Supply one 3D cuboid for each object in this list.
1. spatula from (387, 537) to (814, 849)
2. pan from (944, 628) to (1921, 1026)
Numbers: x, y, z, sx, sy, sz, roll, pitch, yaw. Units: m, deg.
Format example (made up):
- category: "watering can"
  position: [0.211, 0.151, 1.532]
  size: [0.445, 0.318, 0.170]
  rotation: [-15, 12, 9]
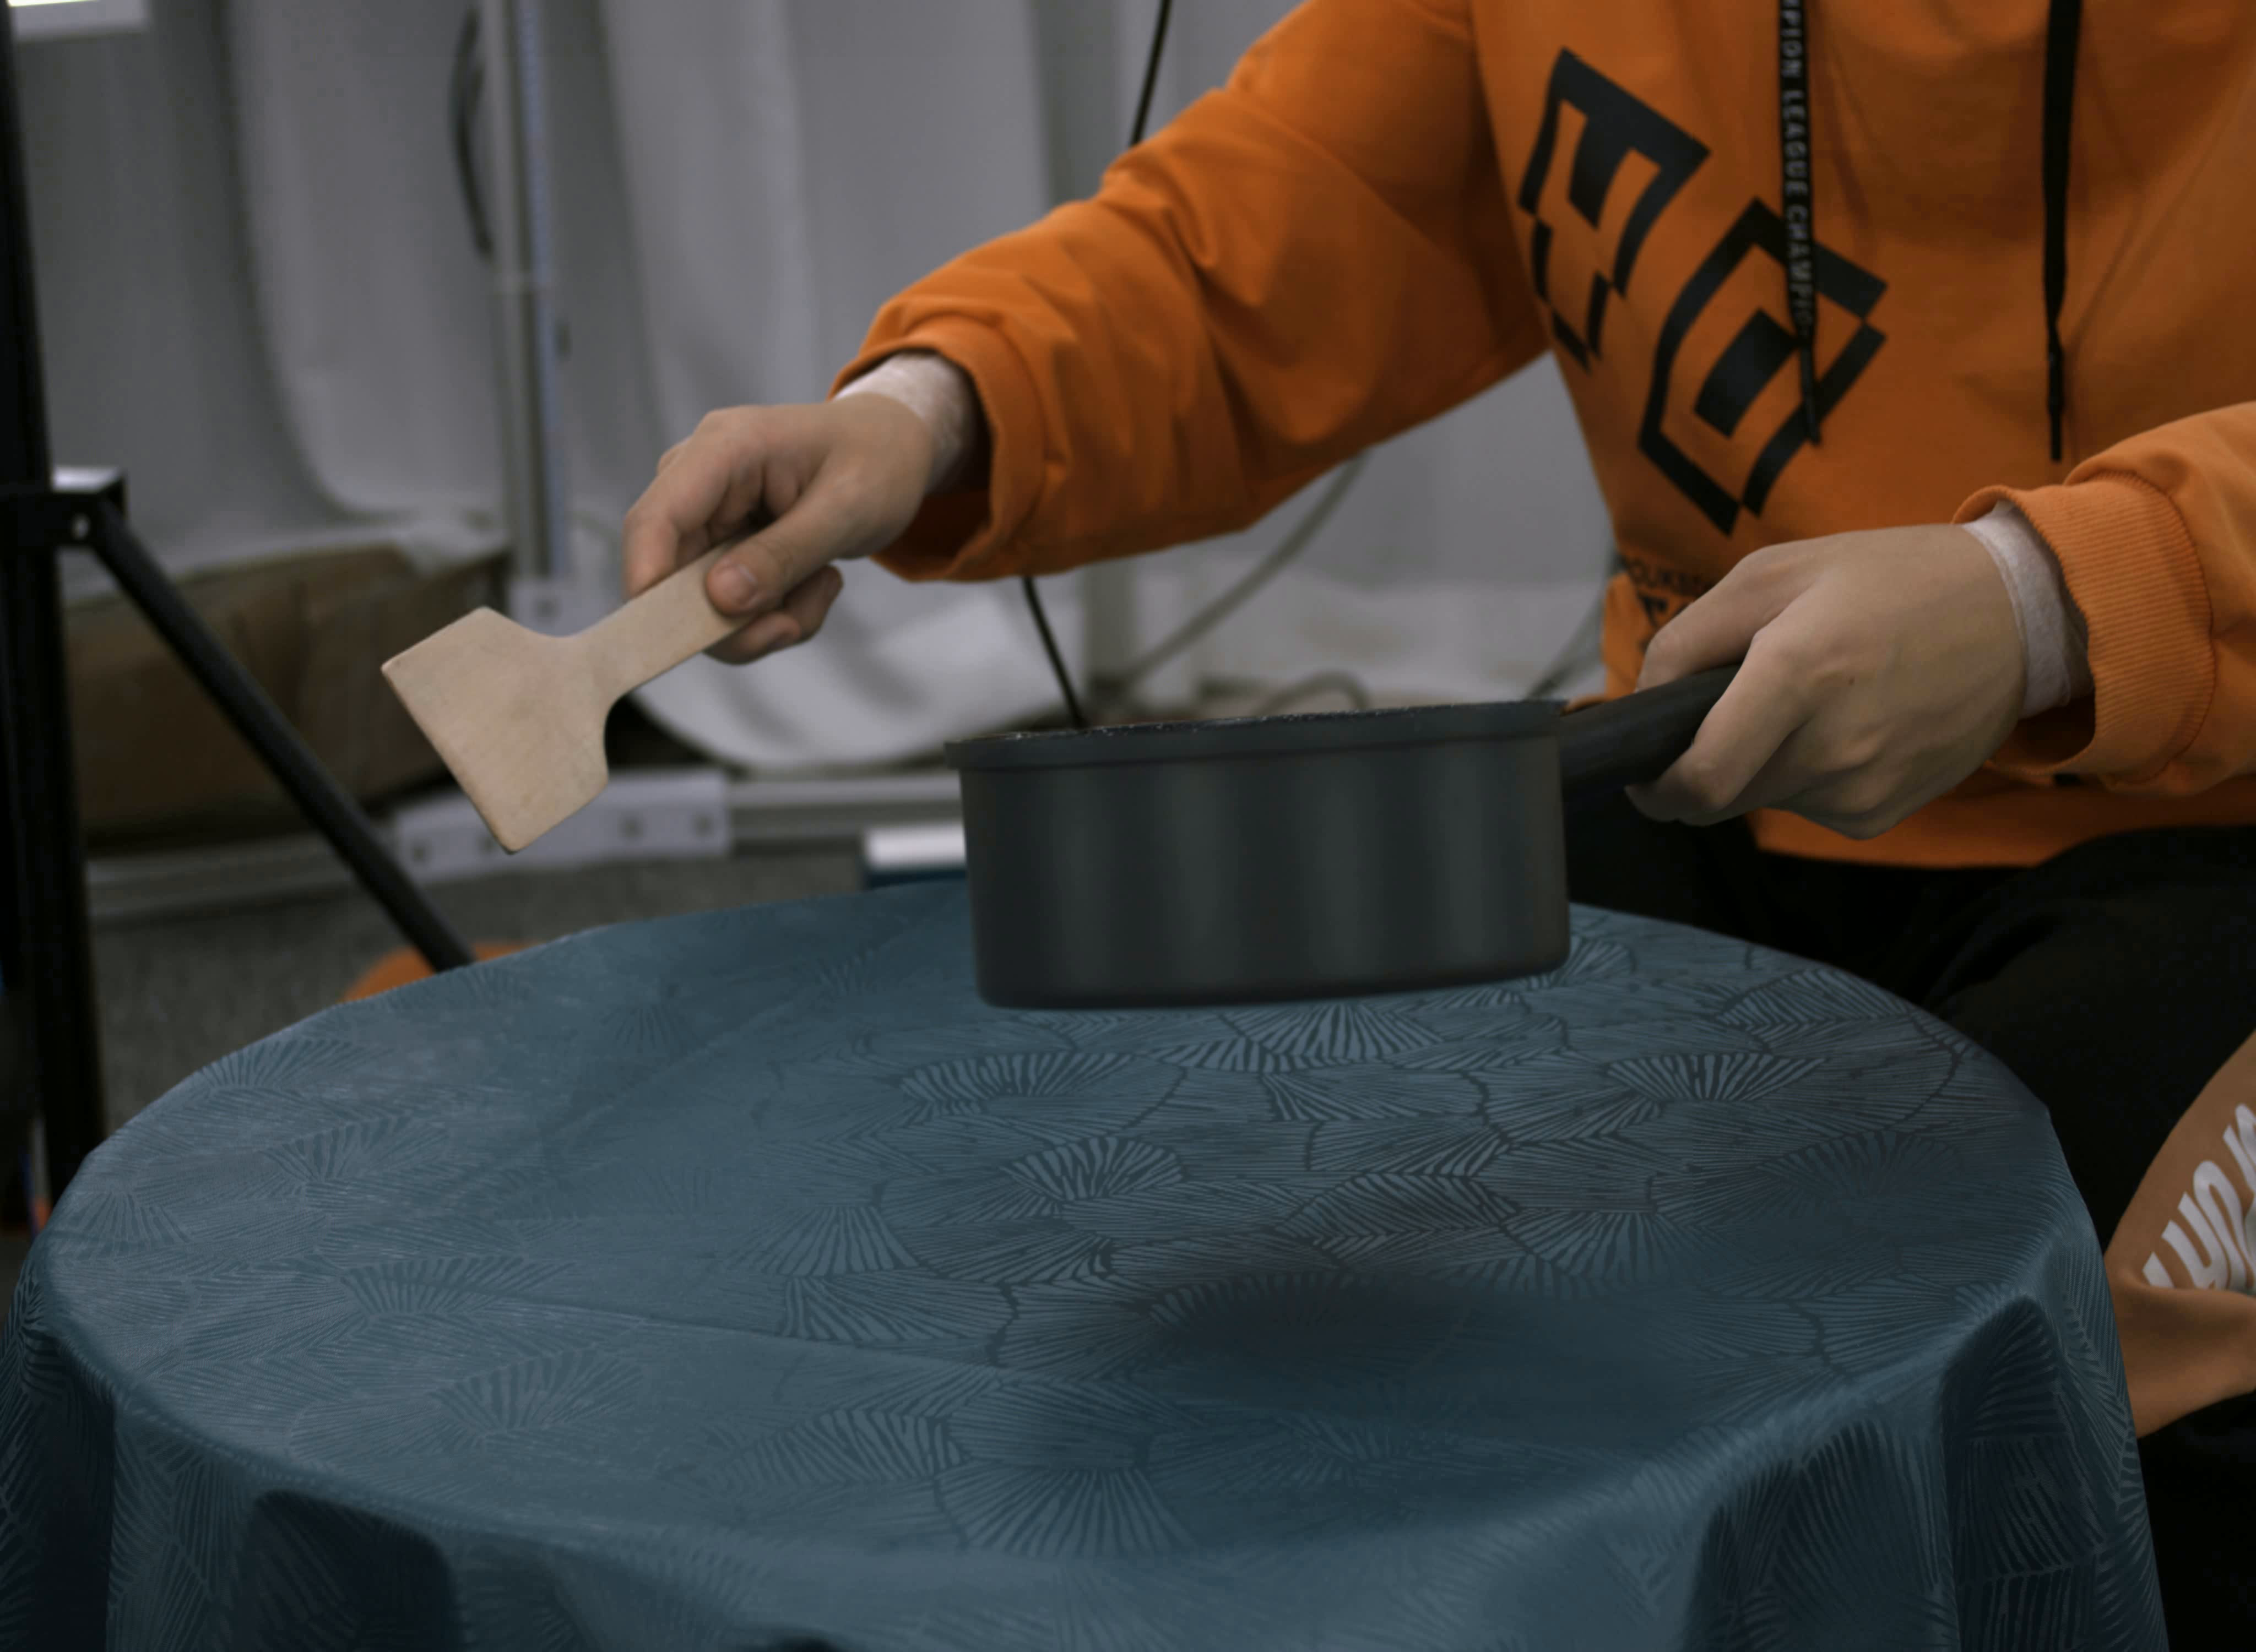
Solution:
- category: "spatula"
  position: [-0.161, -0.056, 1.727]
  size: [0.011, 0.072, 0.290]
  rotation: [-37, 1, 23]
- category: "pan"
  position: [0.099, 0.000, 1.488]
  size: [0.320, 0.087, 0.175]
  rotation: [-7, 5, -36]
